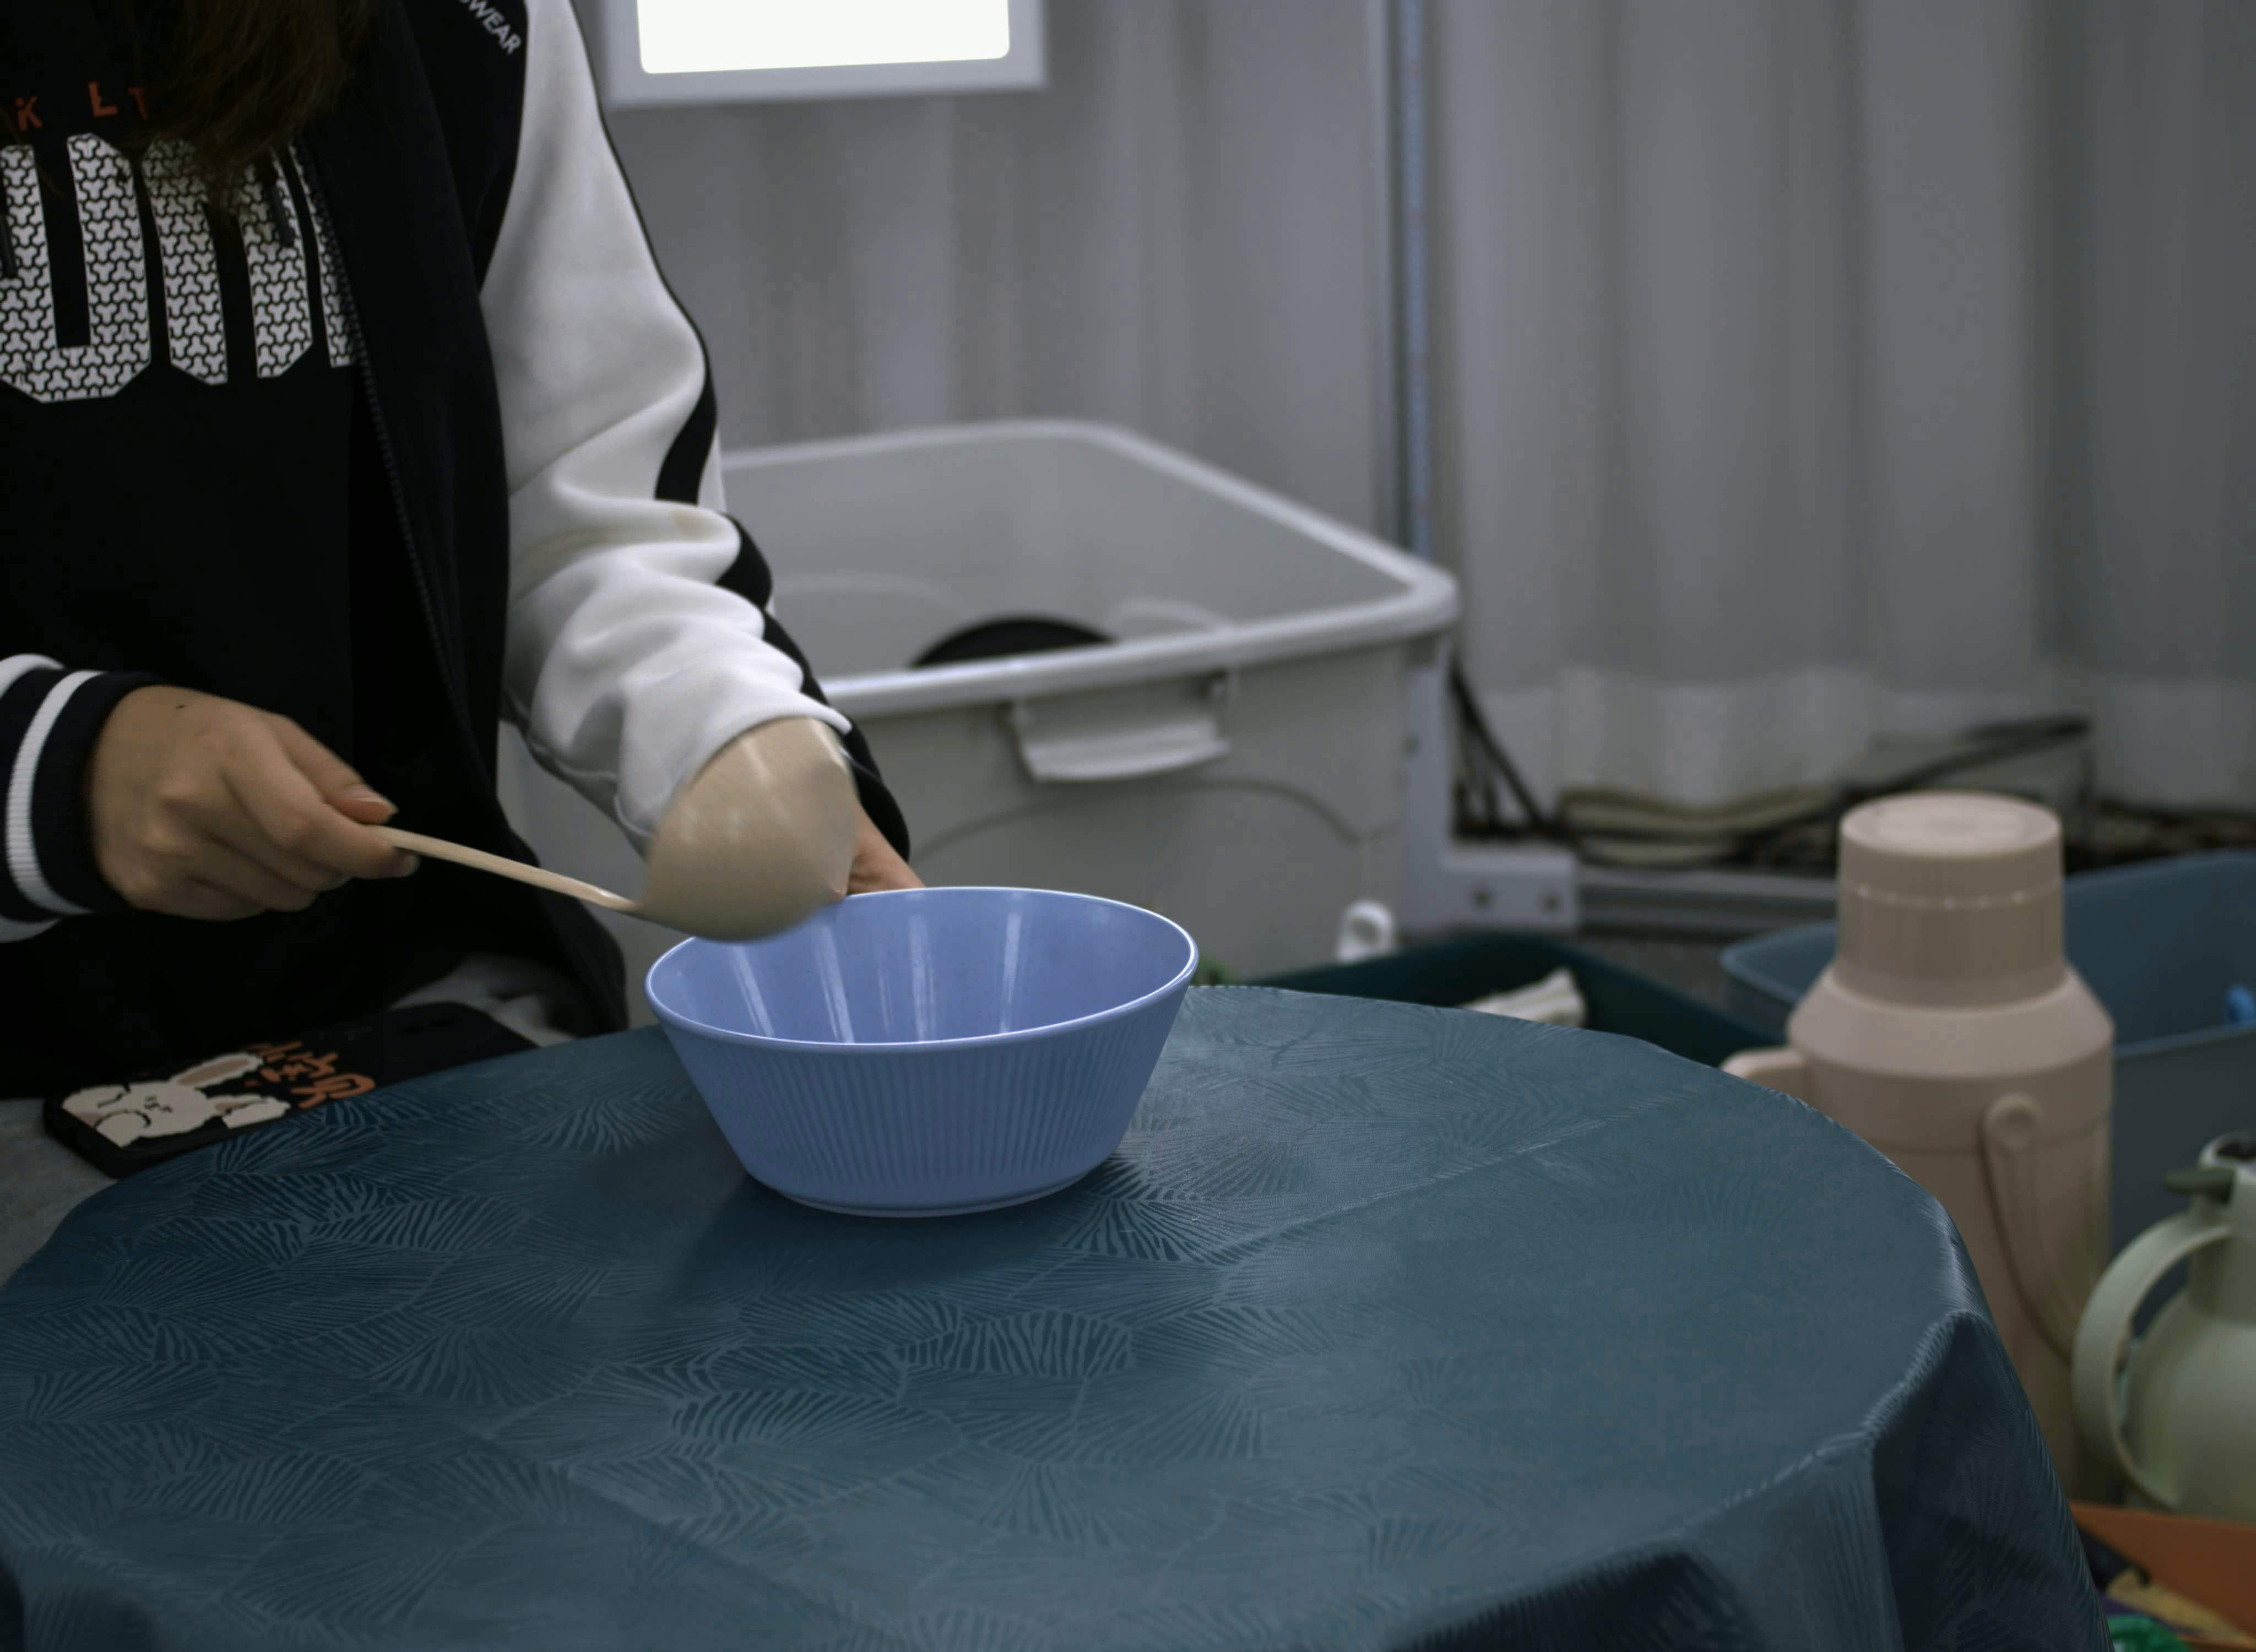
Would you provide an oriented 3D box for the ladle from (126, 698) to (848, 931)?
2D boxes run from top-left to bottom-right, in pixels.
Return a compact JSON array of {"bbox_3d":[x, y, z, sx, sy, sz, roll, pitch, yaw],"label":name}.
[{"bbox_3d":[-0.201,-0.017,1.683,0.255,0.073,0.071,9,-10,31],"label":"ladle"}]

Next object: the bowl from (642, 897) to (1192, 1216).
[{"bbox_3d":[-0.066,0.075,1.740,0.175,0.070,0.177,-2,14,0],"label":"bowl"}]
